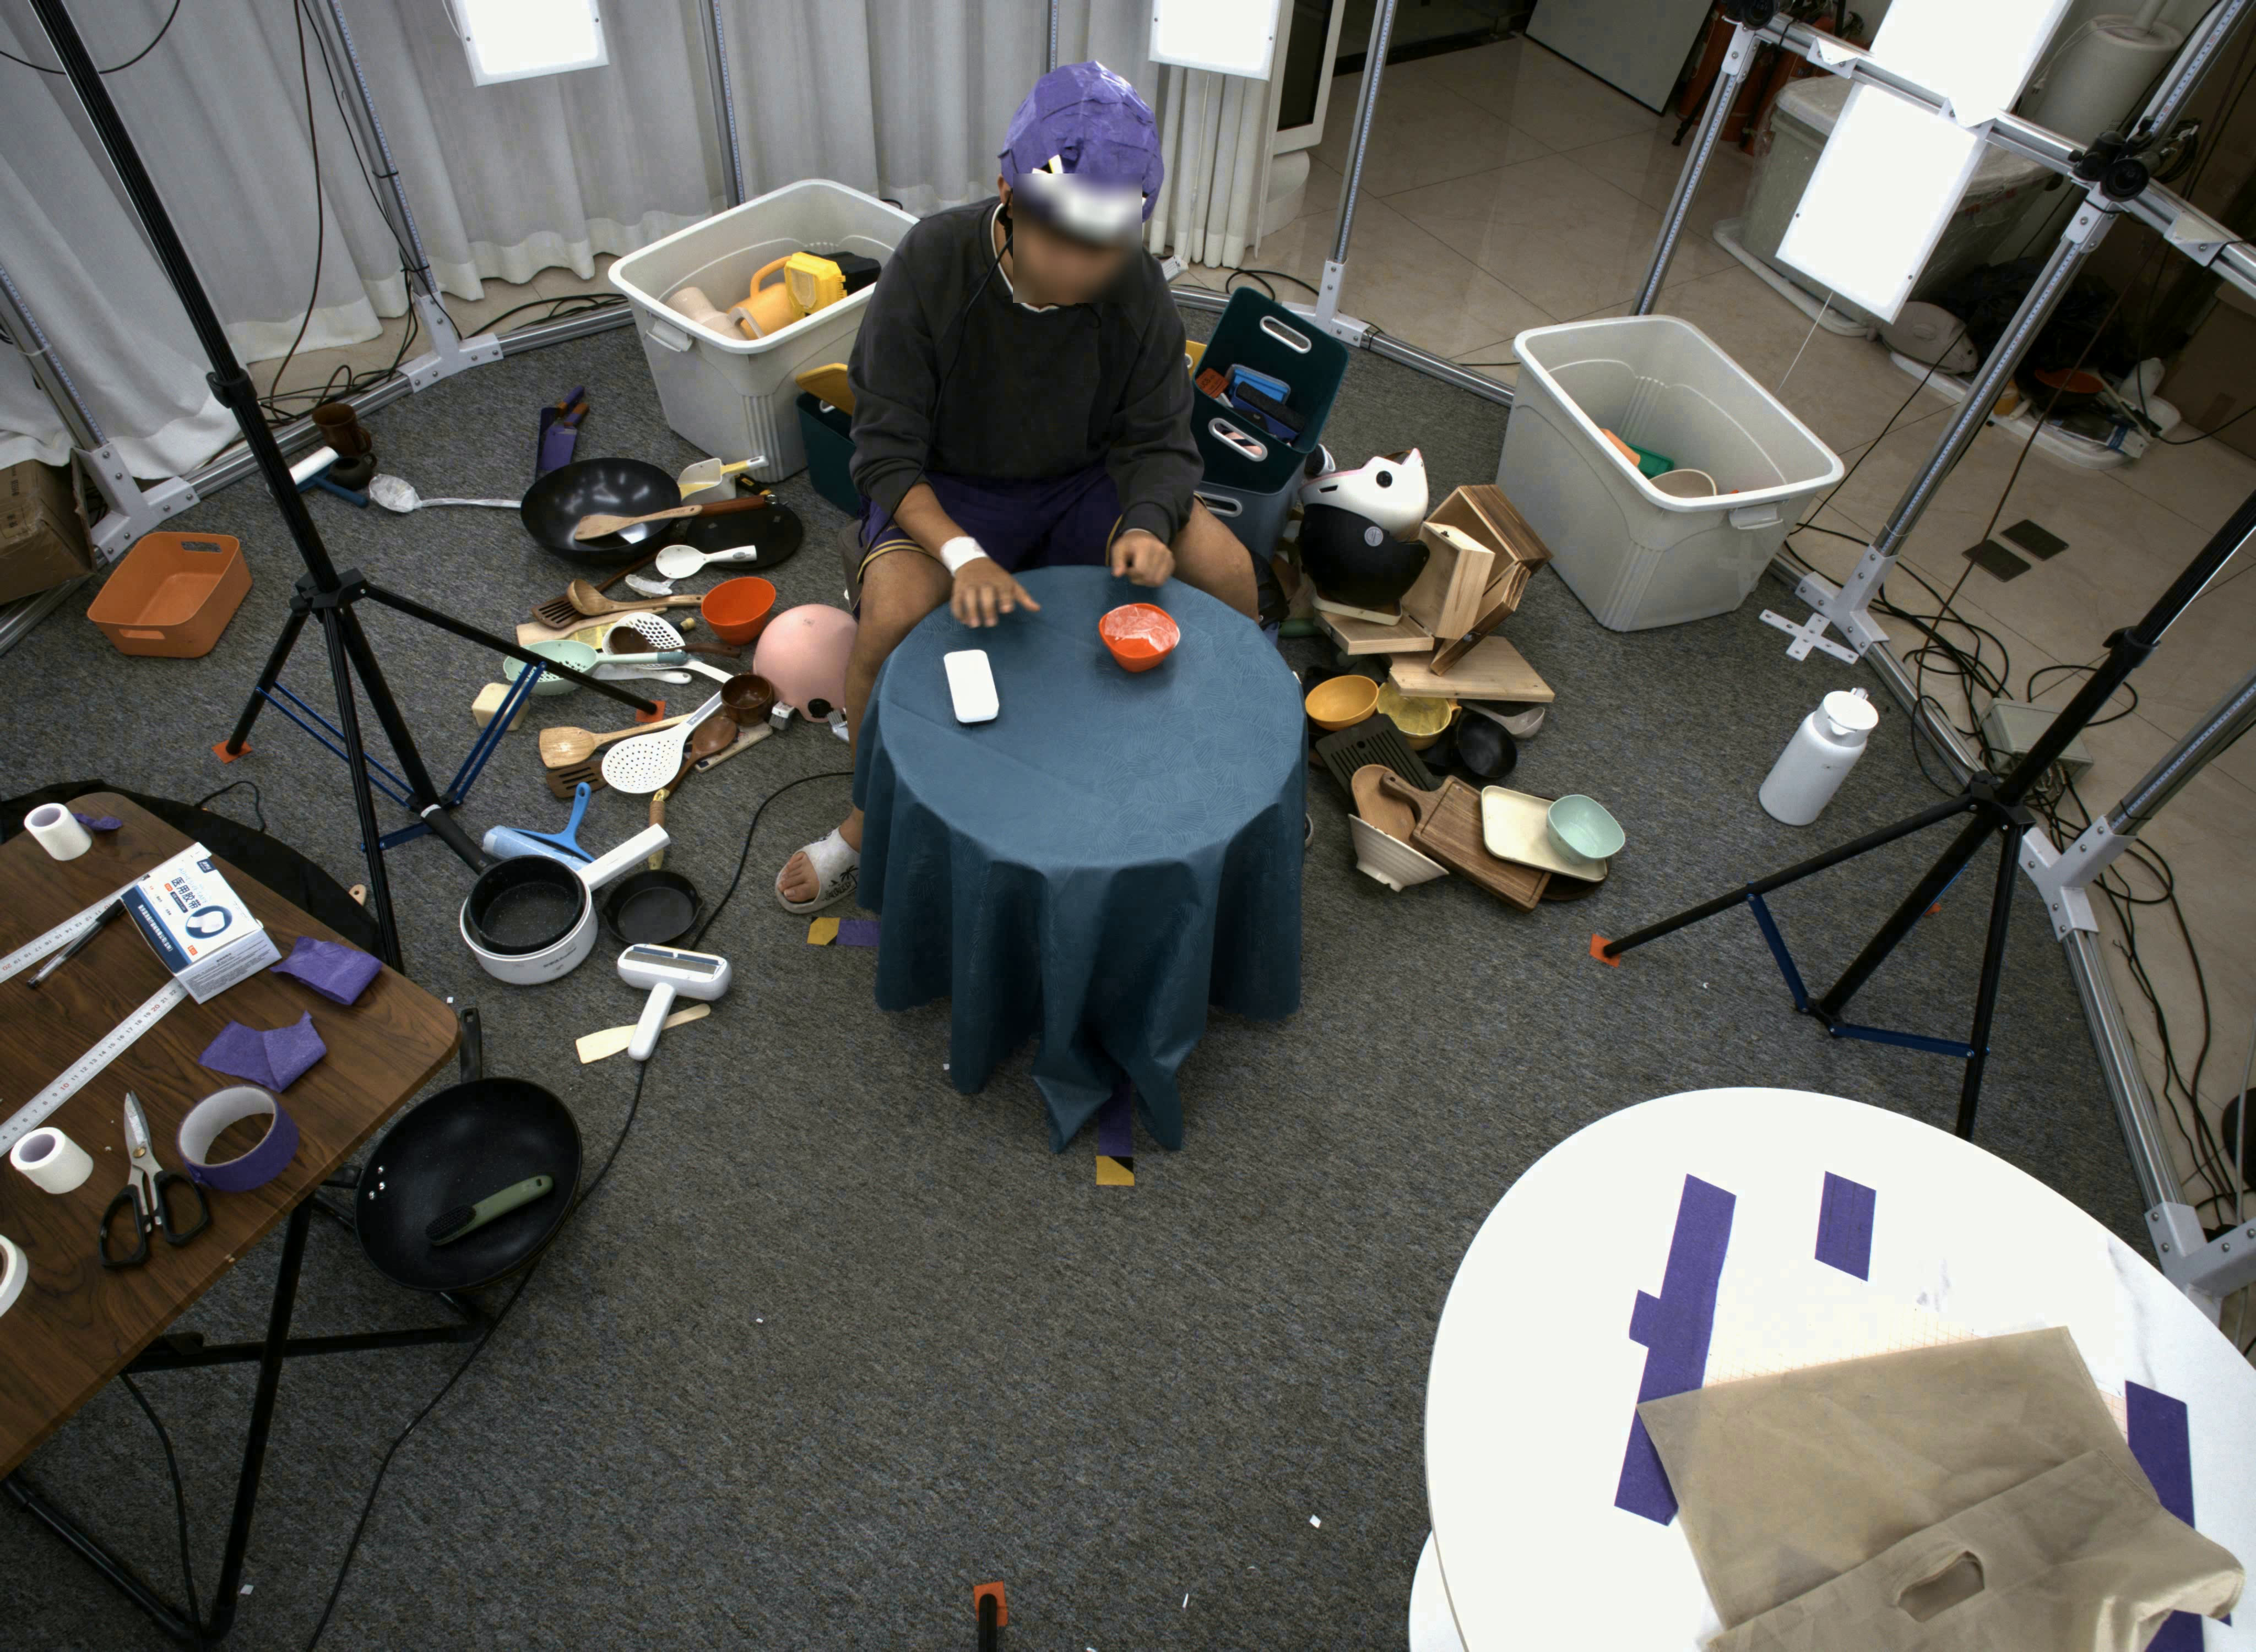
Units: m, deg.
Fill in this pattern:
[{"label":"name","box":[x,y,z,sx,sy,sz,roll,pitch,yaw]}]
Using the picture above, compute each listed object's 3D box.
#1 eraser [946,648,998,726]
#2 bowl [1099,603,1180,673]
[{"label":"eraser","box":[-0.218,-0.198,1.803,0.063,0.034,0.134,-6,51,-10]},{"label":"bowl","box":[0.015,-0.268,1.867,0.119,0.050,0.122,1,49,-2]}]
